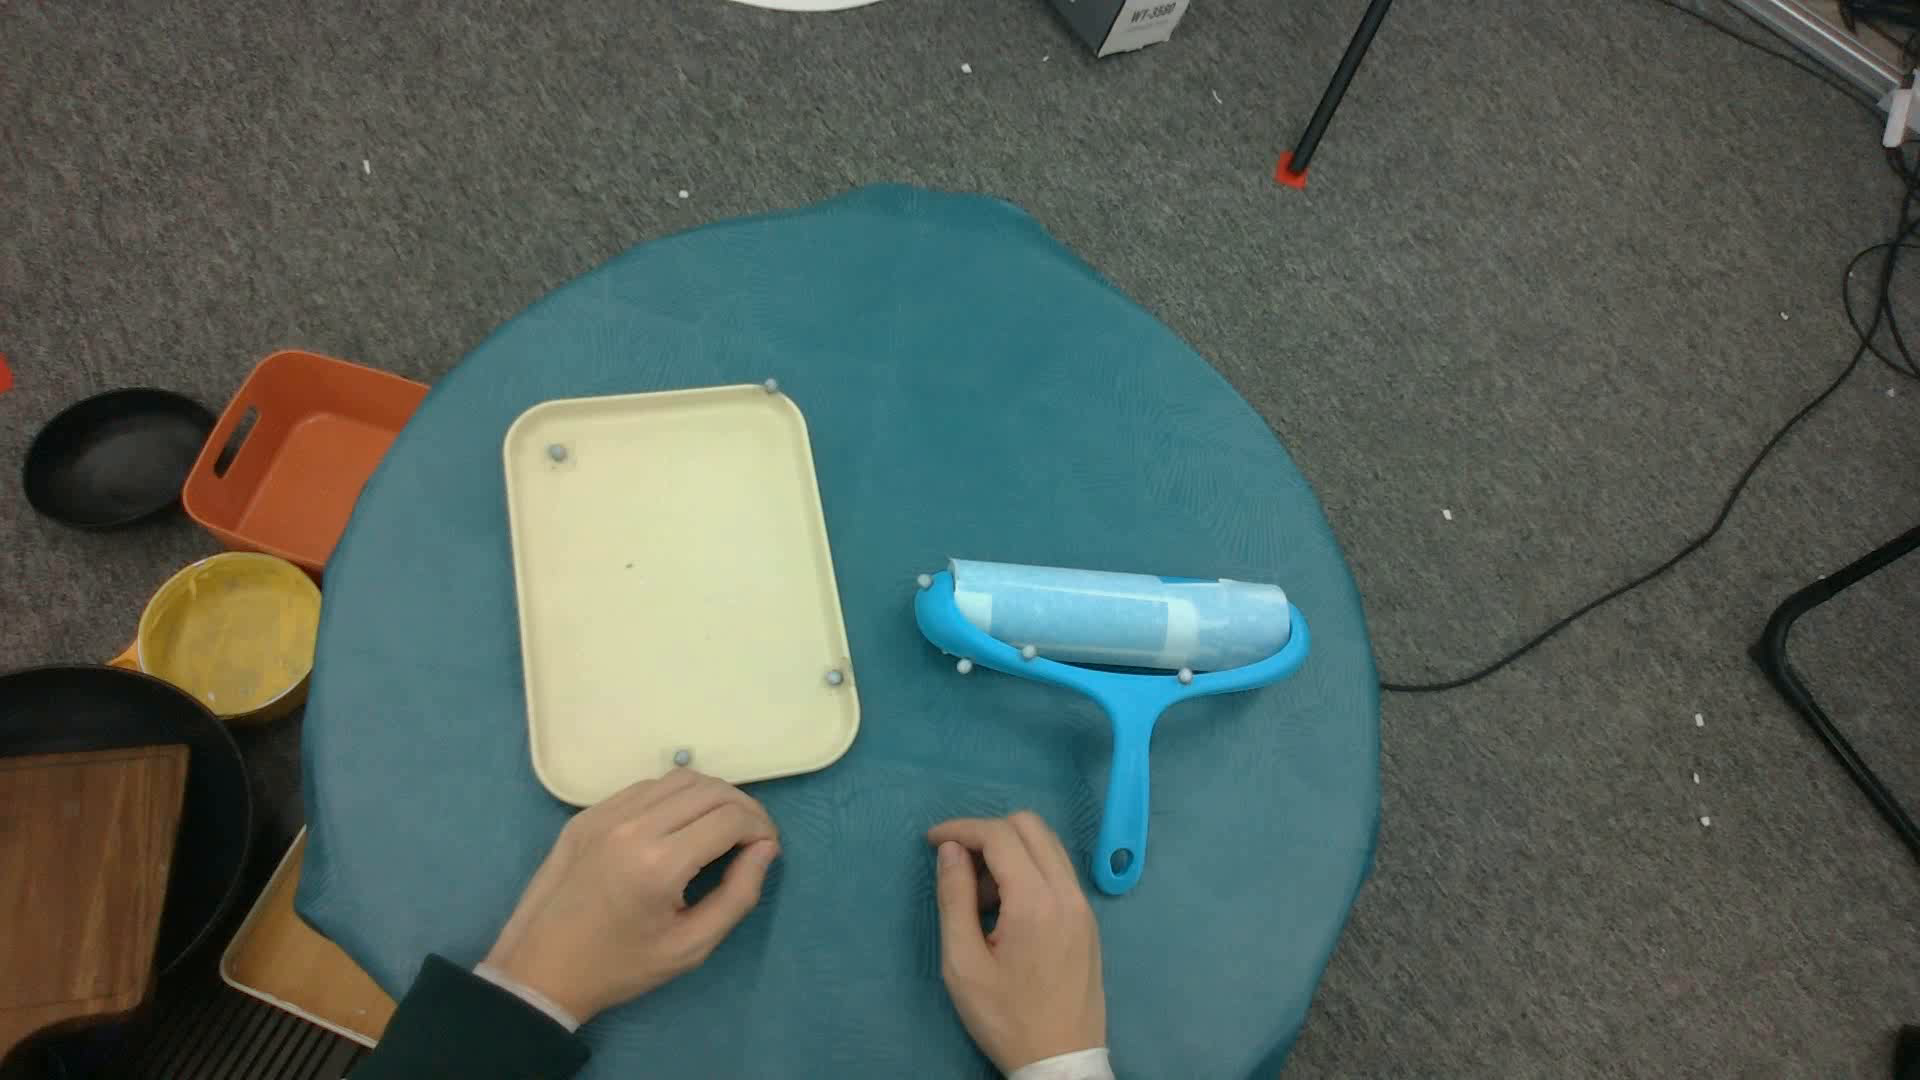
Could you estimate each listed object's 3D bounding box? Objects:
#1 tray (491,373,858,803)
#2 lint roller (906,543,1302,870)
[{"bbox_3d":[-0.159,0.020,0.762,0.171,0.017,0.240,-9,67,-14],"label":"tray"},{"bbox_3d":[0.088,0.085,0.758,0.229,0.067,0.181,1,64,-12],"label":"lint roller"}]
